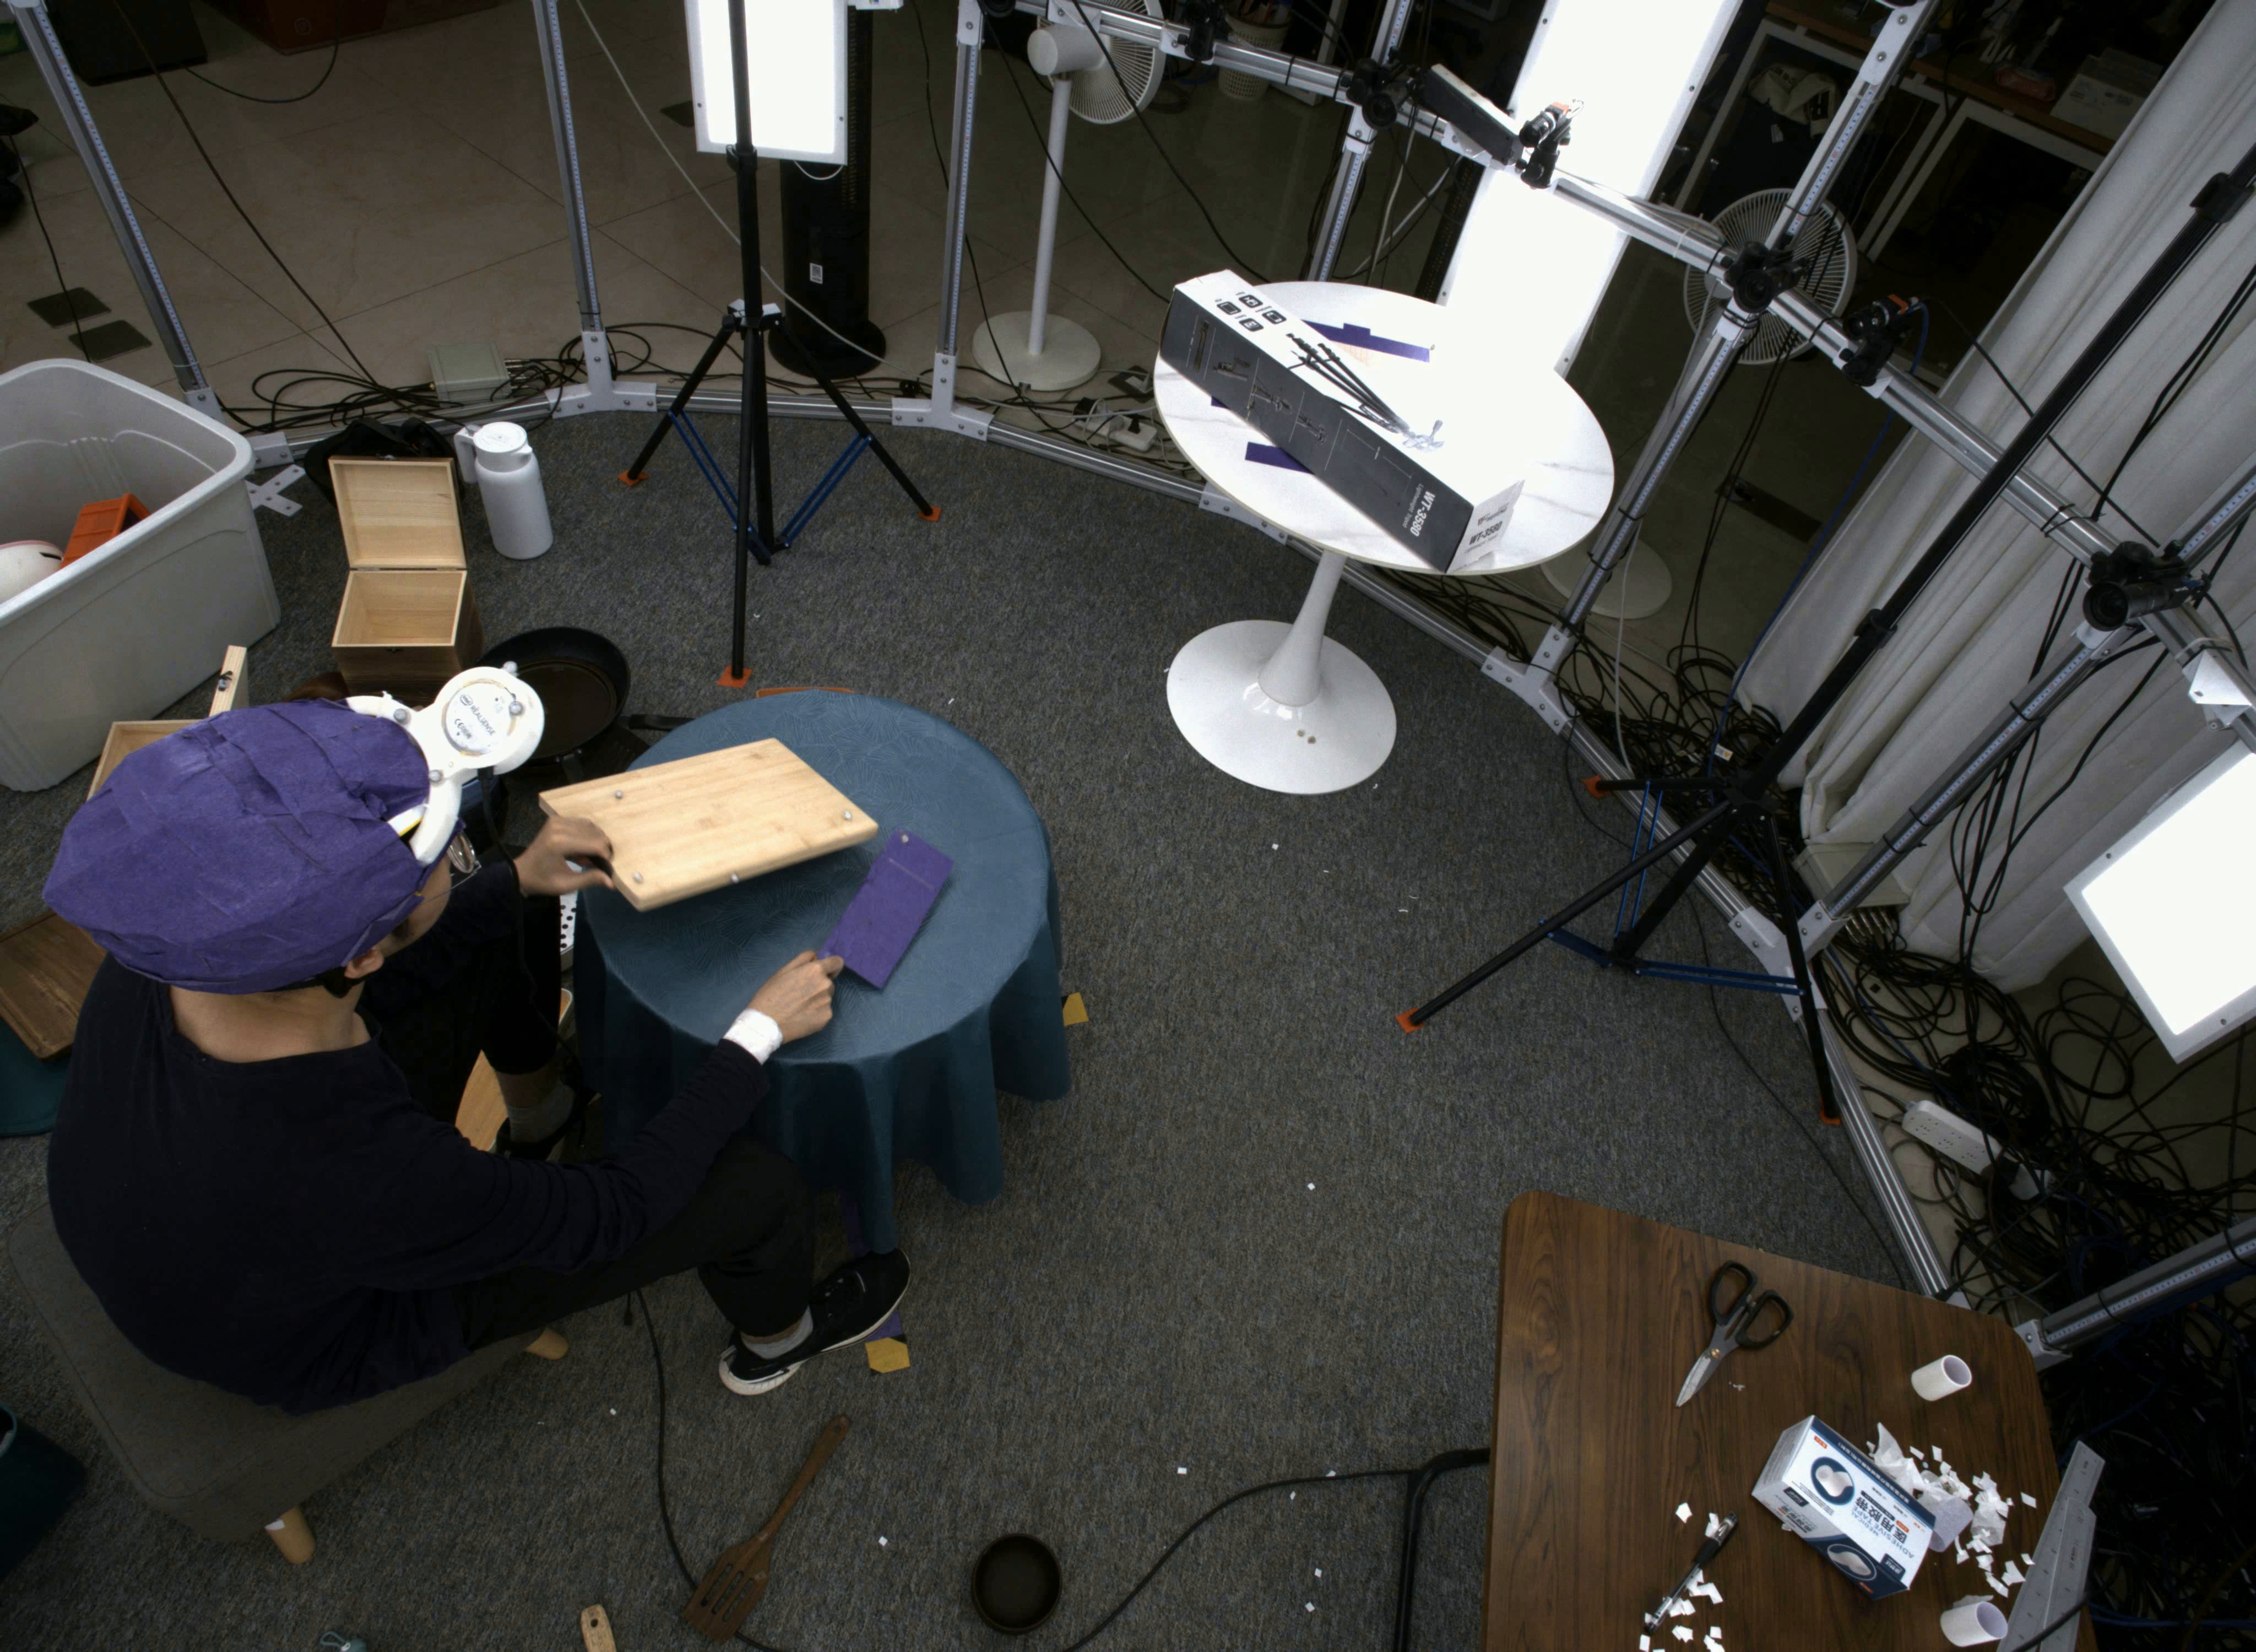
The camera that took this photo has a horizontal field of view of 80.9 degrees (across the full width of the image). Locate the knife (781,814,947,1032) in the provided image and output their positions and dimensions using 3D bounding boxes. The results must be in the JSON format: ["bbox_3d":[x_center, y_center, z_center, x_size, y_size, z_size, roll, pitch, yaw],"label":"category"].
[{"bbox_3d":[-0.318,0.129,1.617,0.106,0.032,0.313,36,58,-18],"label":"knife"}]

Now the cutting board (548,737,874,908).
[{"bbox_3d":[-0.525,-0.016,1.615,0.242,0.024,0.352,35,35,29],"label":"cutting board"}]
